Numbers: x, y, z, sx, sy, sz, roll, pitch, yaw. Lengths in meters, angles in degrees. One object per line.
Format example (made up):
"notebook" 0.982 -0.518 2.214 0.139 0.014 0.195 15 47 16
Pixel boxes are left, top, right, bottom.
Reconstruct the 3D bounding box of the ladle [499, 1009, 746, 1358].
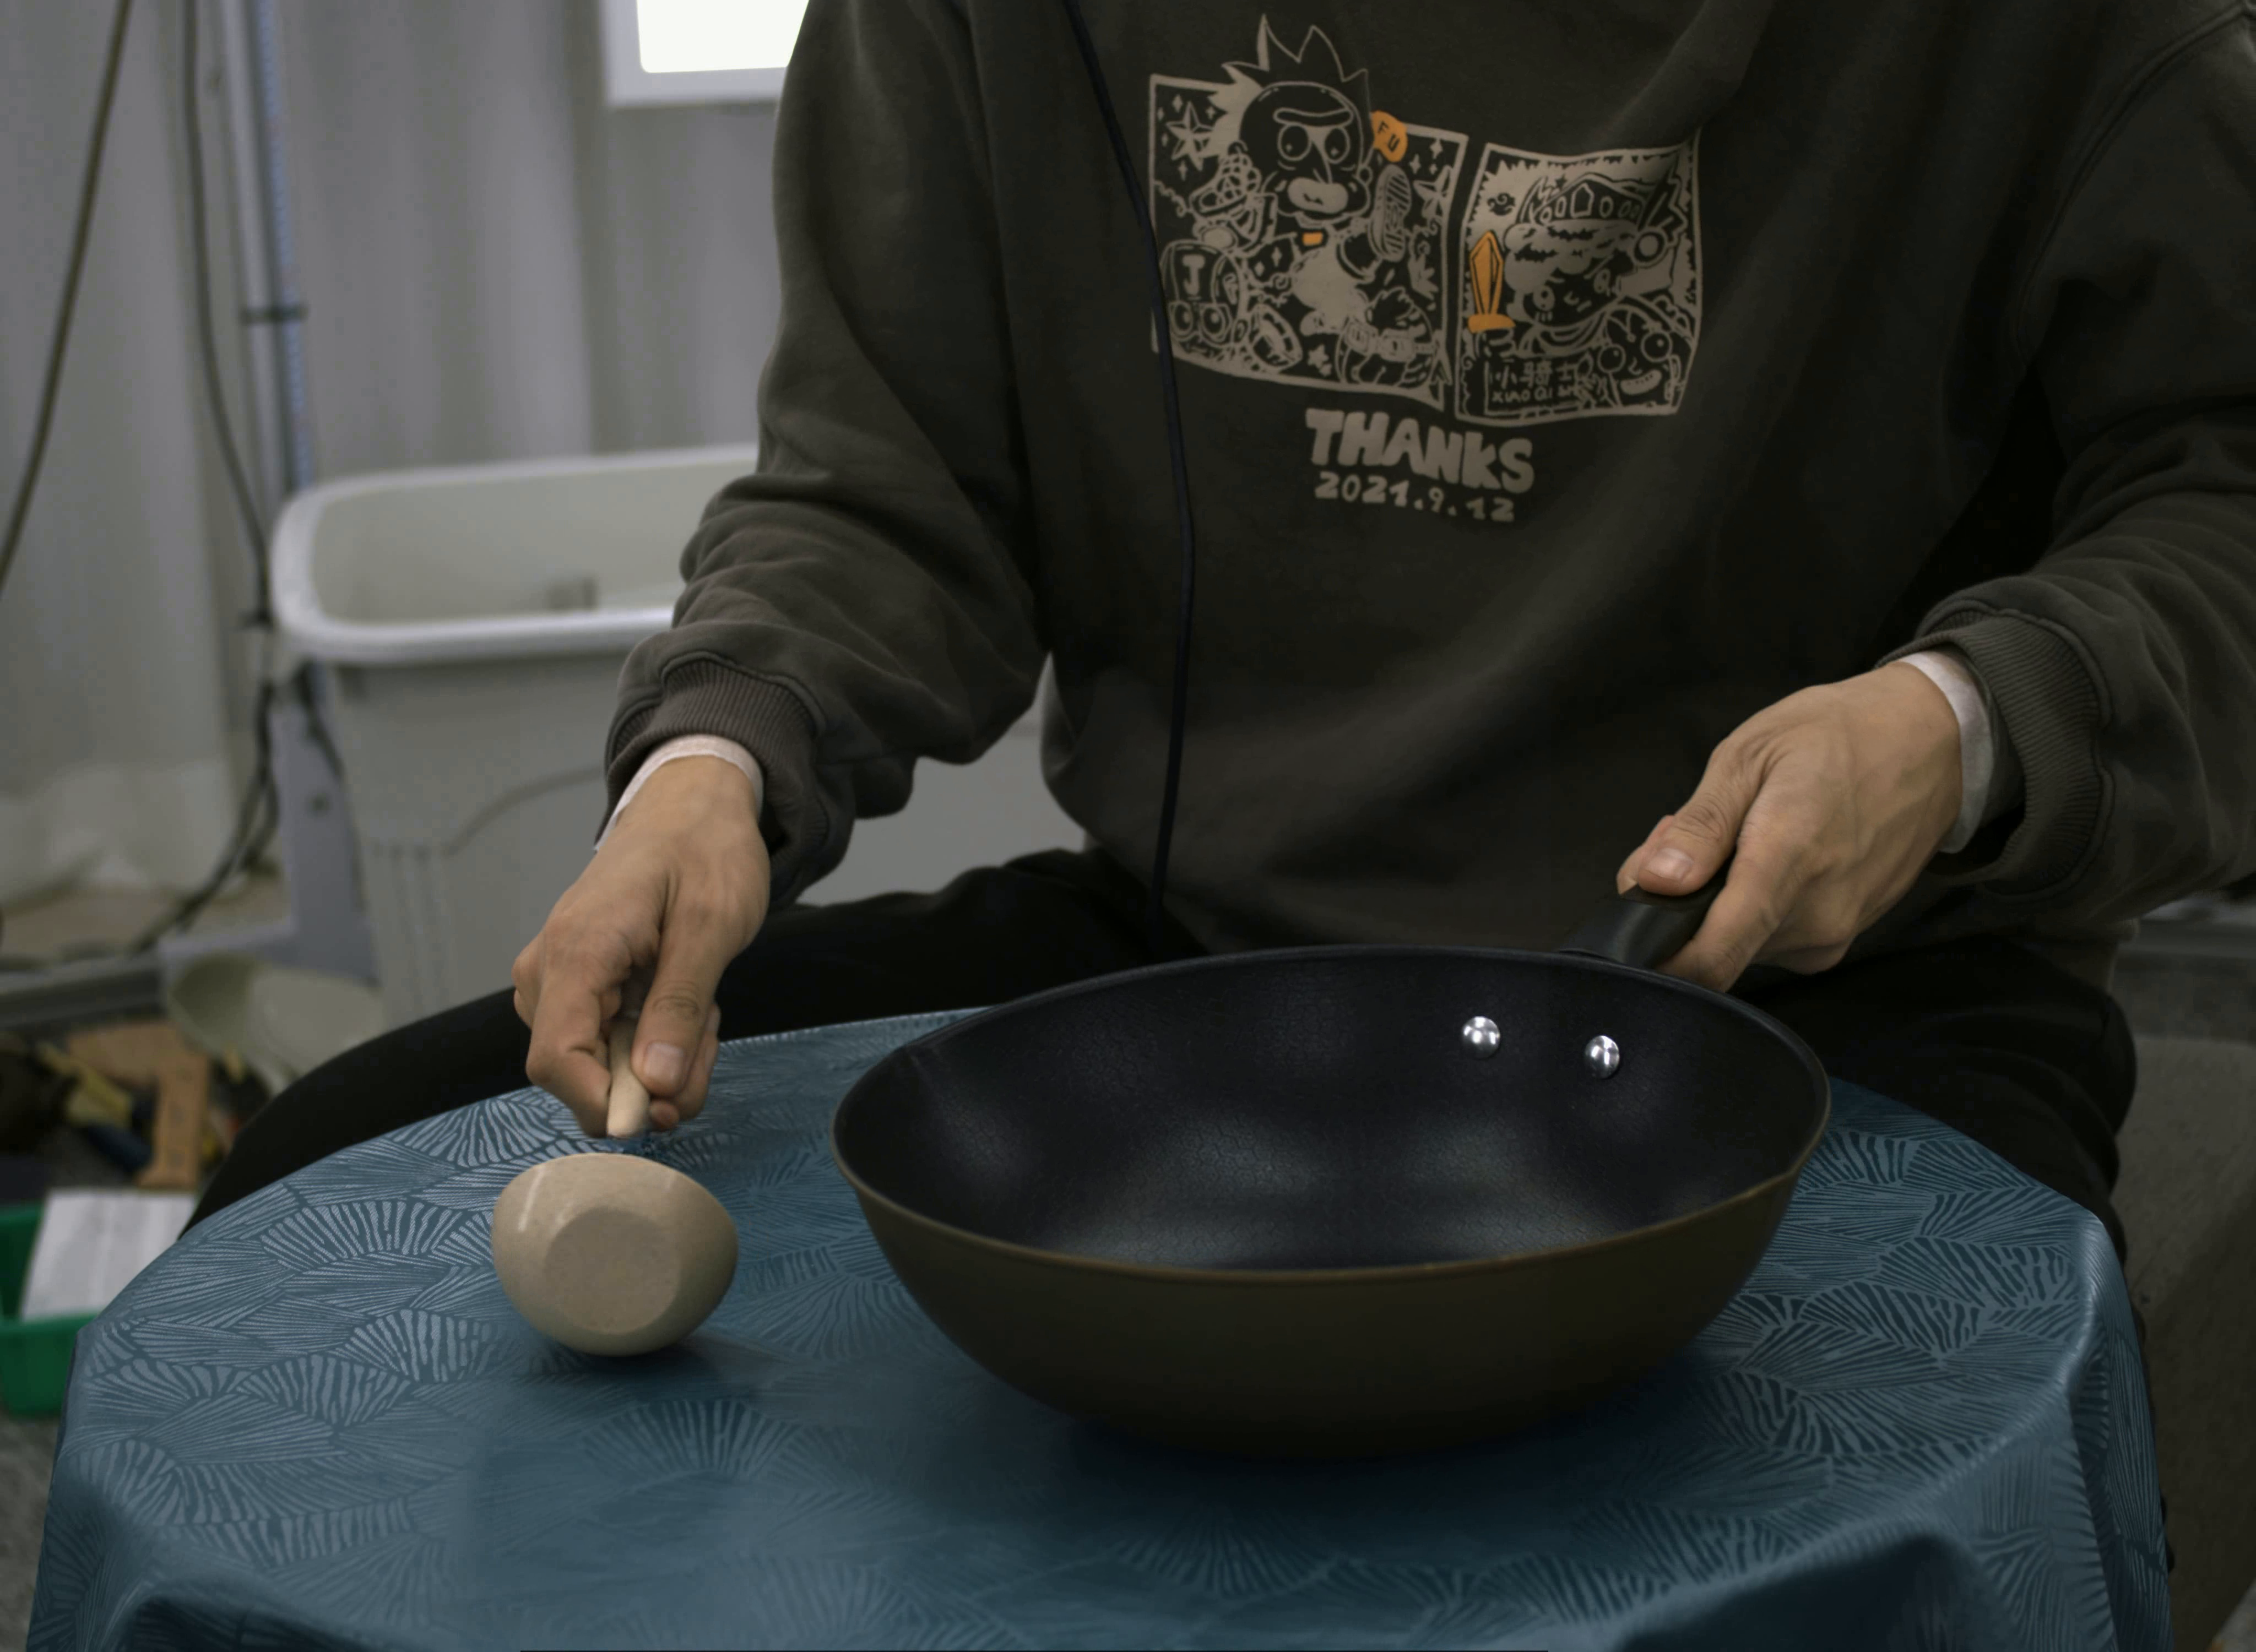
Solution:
"ladle" -0.154 0.081 1.684 0.072 0.072 0.257 11 22 -9

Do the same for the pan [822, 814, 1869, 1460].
"pan" 0.105 0.090 1.623 0.289 0.086 0.464 7 18 32
